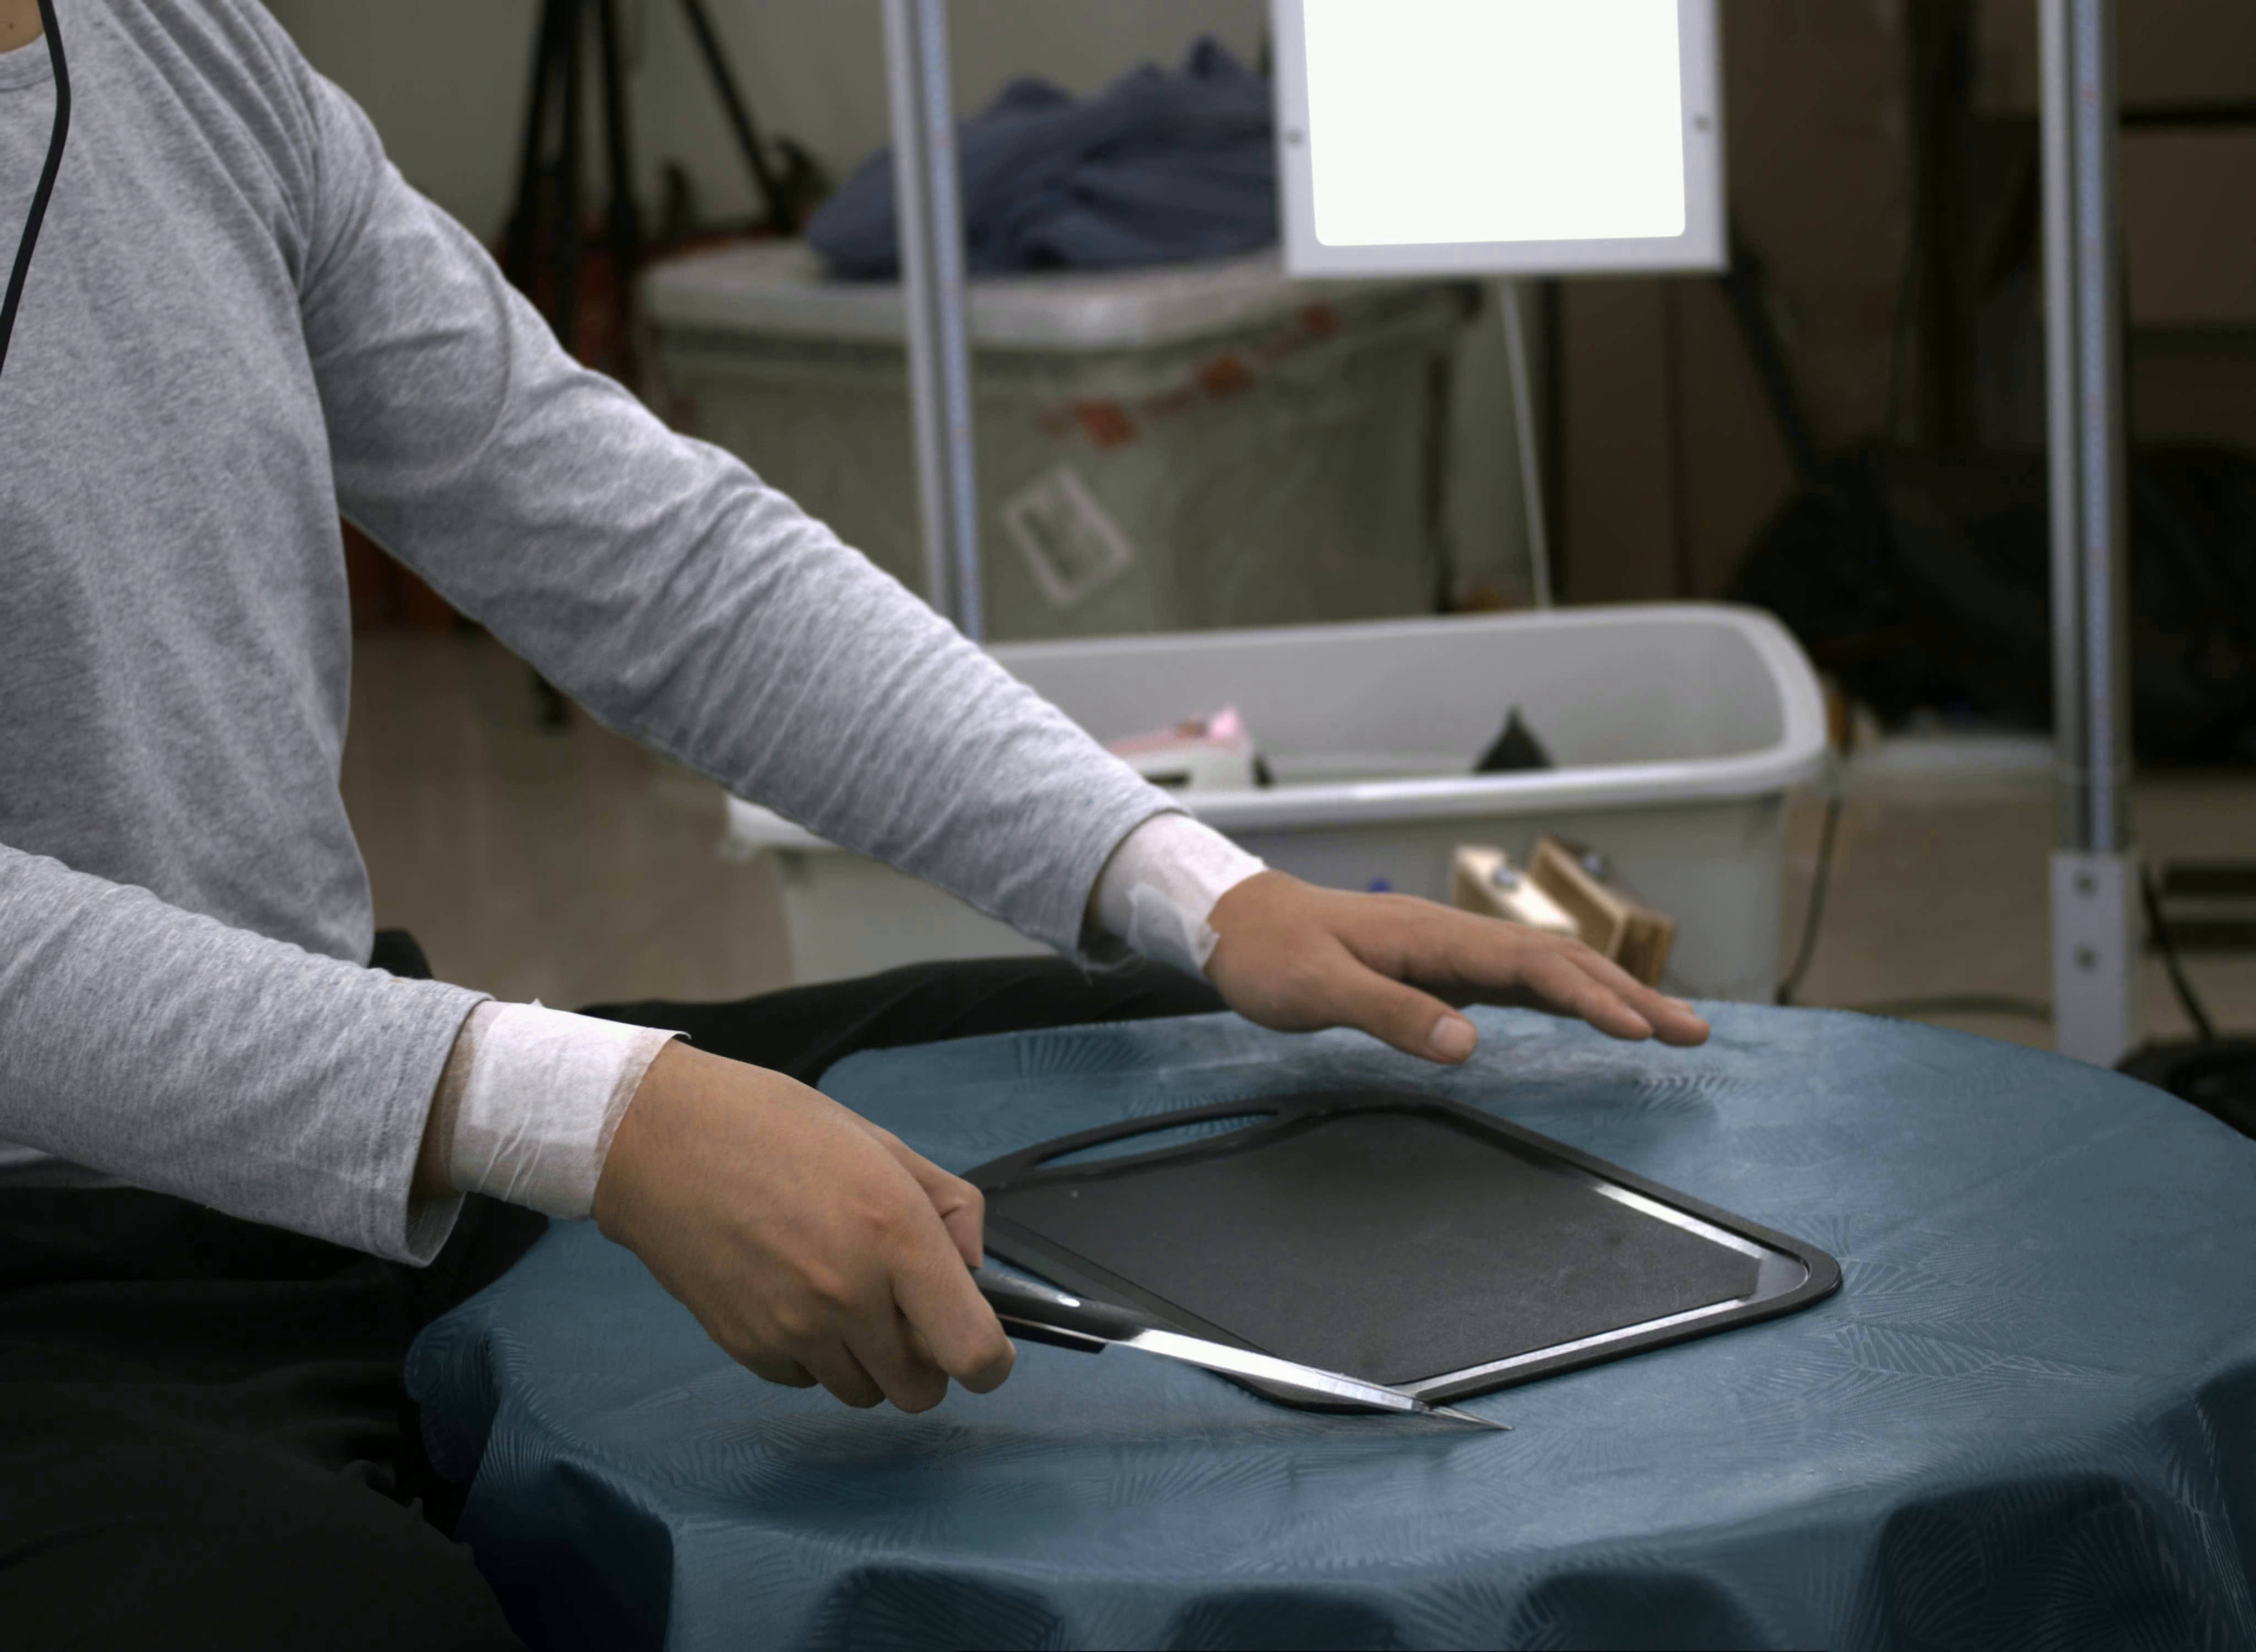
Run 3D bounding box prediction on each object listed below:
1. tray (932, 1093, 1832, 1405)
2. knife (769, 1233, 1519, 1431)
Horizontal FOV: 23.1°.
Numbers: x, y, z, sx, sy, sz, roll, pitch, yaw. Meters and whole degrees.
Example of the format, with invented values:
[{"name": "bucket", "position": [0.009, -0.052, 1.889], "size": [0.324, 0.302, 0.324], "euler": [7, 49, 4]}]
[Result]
[{"name": "tray", "position": [0.074, 0.134, 1.833], "size": [0.207, 0.010, 0.331], "euler": [-12, 15, -25]}, {"name": "knife", "position": [0.003, 0.156, 1.668], "size": [0.240, 0.016, 0.024], "euler": [12, 16, 13]}]
